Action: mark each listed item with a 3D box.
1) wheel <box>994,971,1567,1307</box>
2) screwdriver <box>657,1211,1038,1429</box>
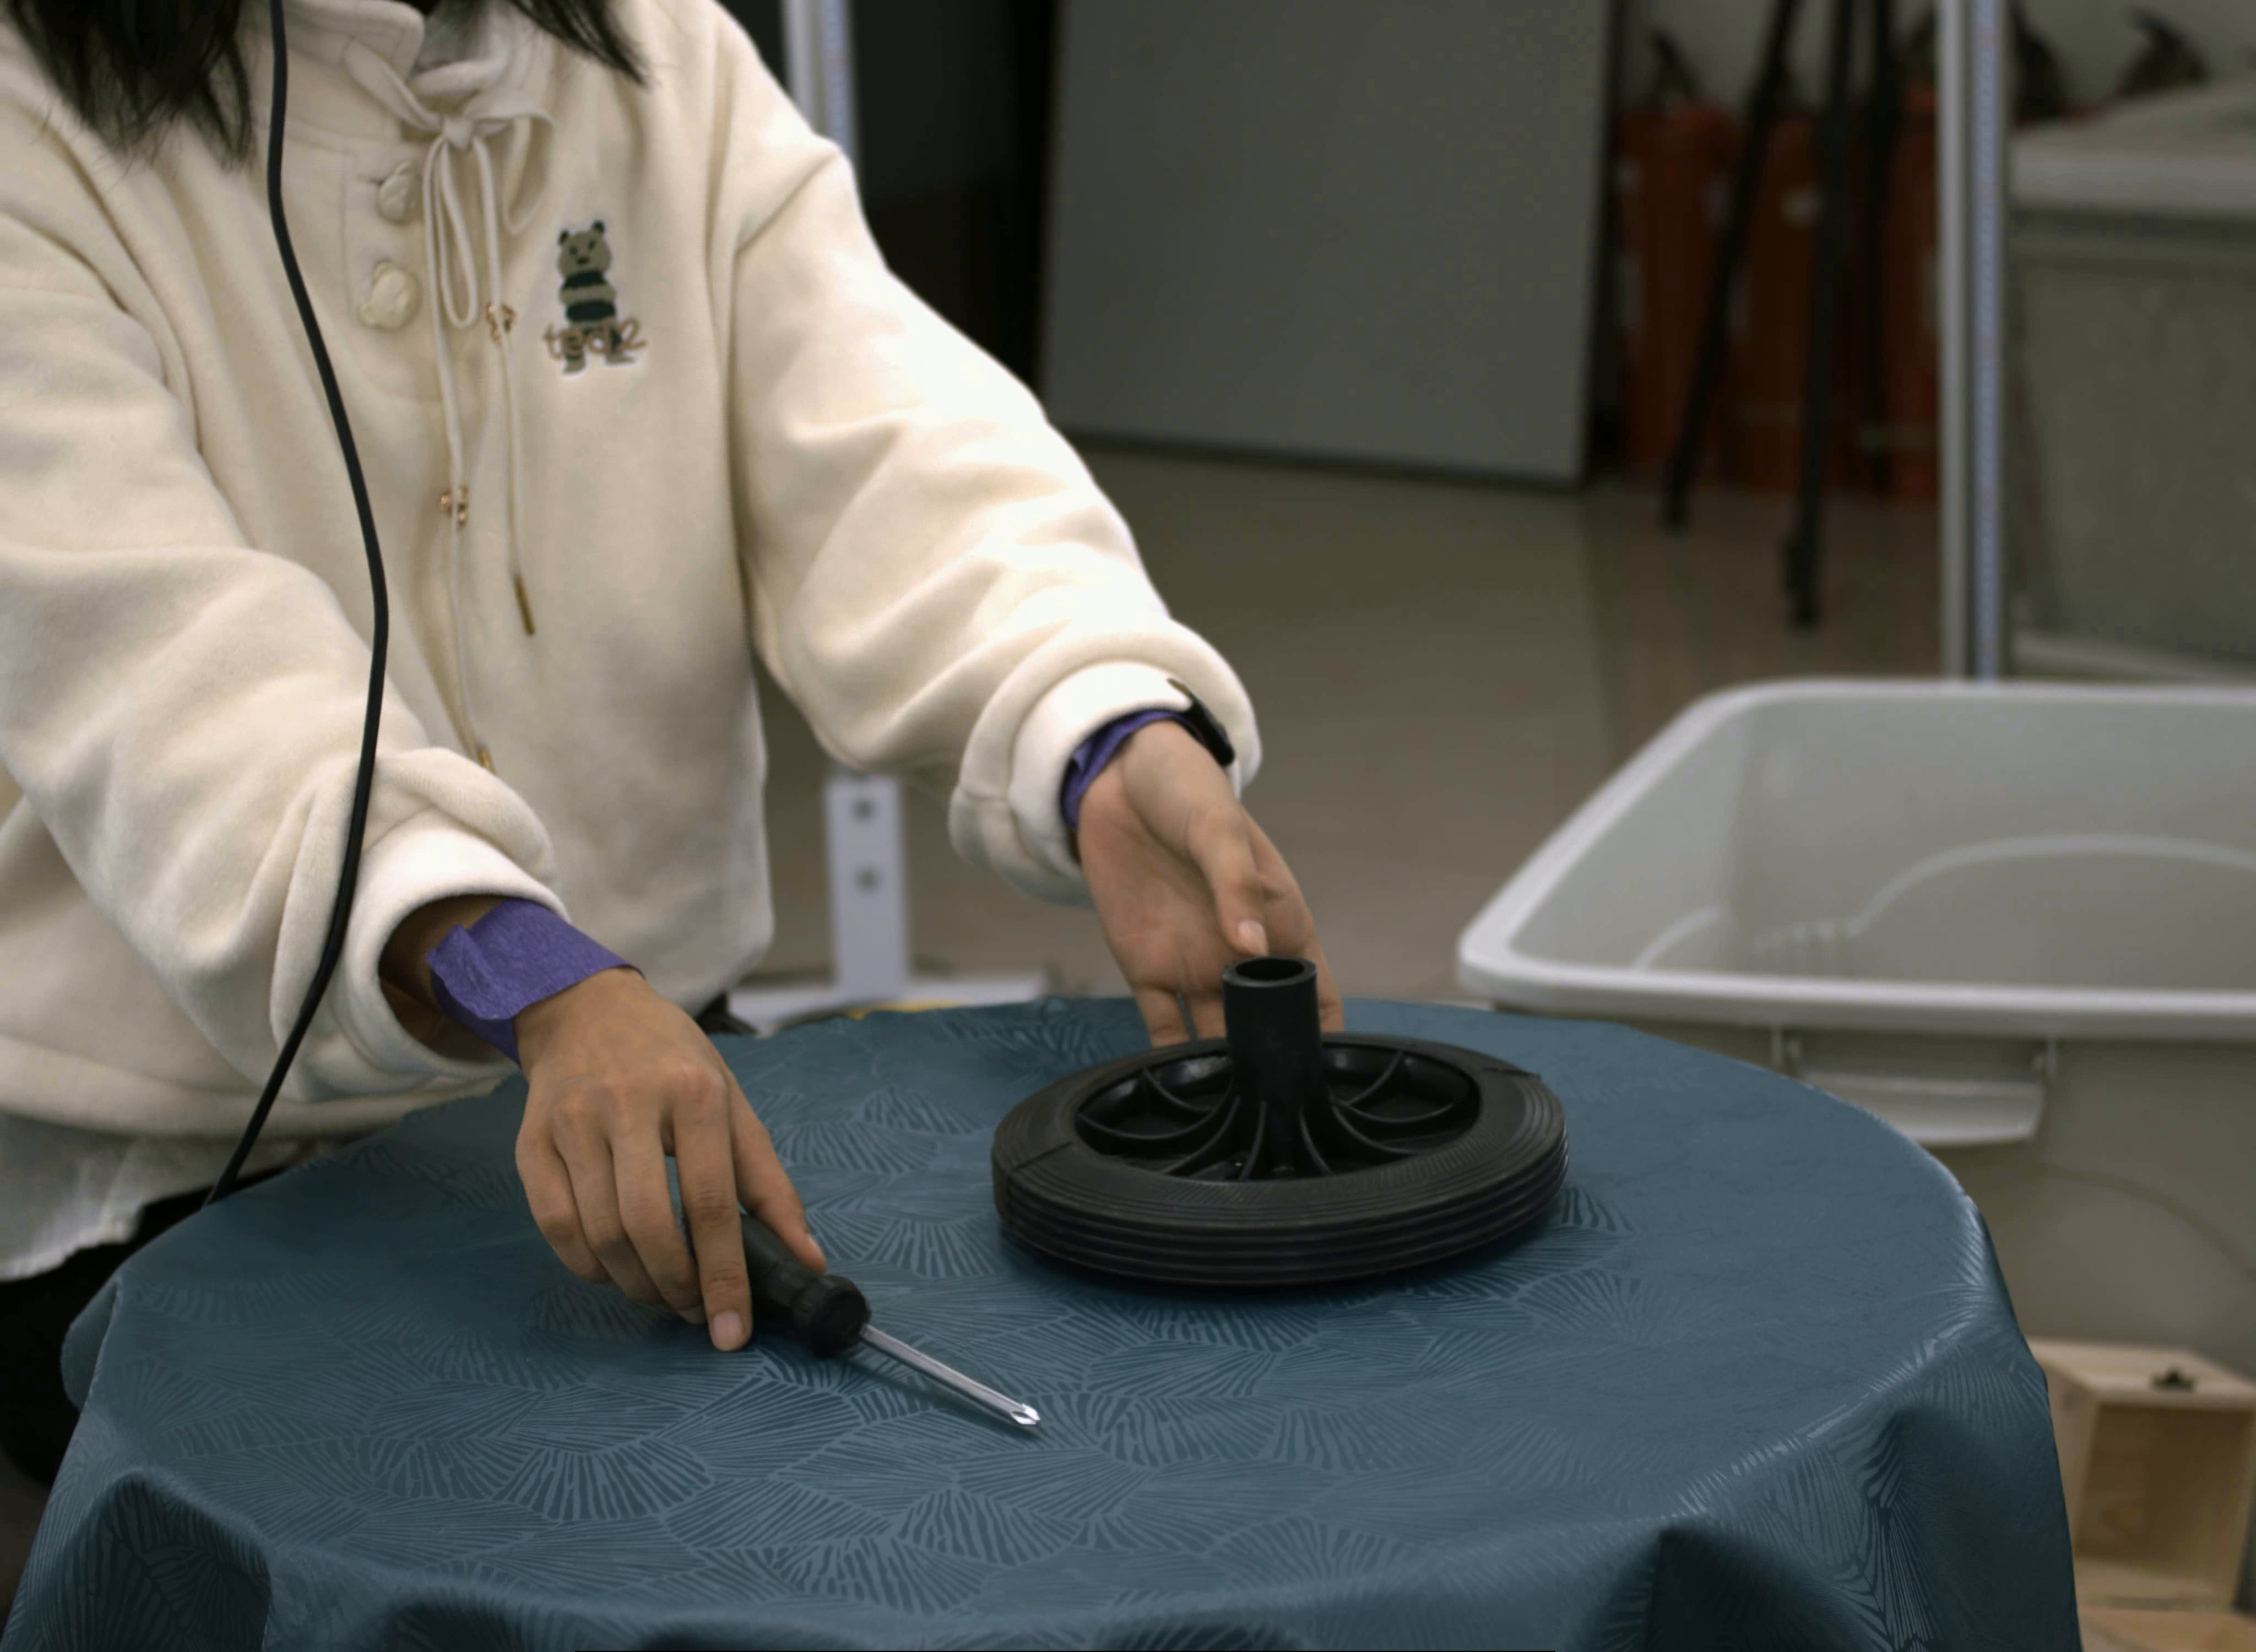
[{"bbox_3d":[0.047,0.089,1.729,0.187,0.080,0.188,0,18,17],"label":"wheel"},{"bbox_3d":[-0.081,0.149,1.629,0.031,0.032,0.198,-14,18,-37],"label":"screwdriver"}]
